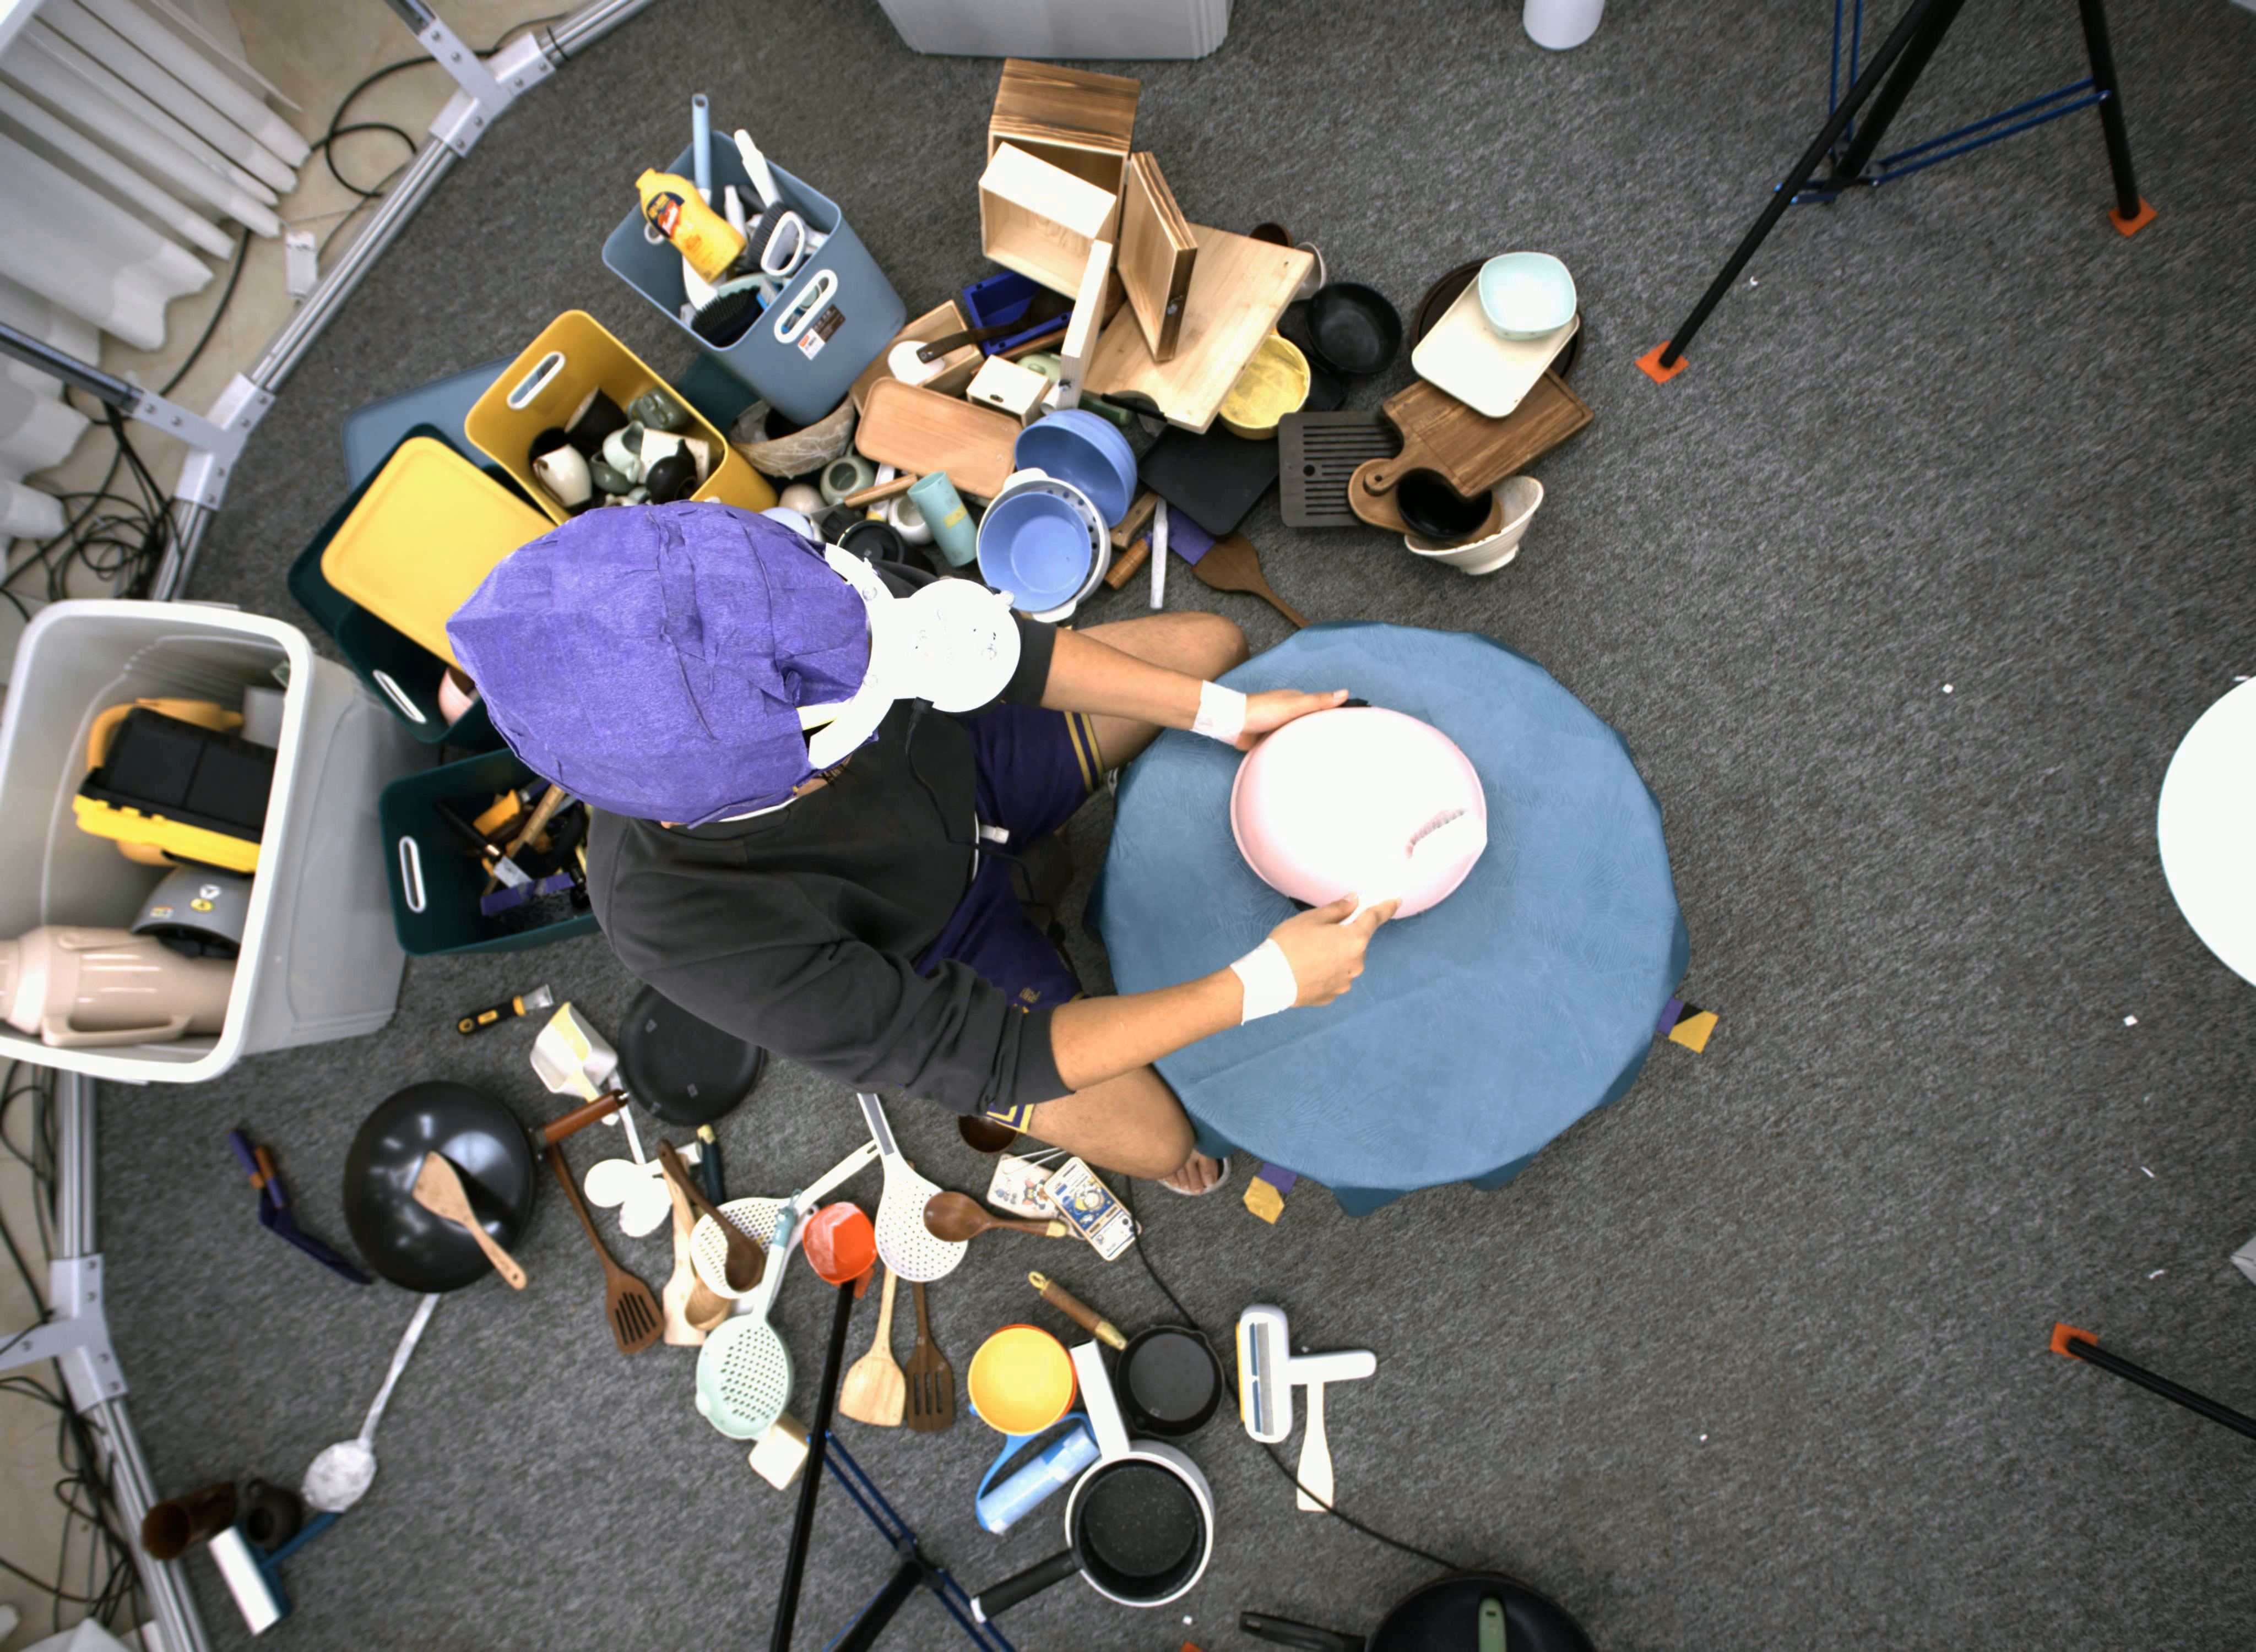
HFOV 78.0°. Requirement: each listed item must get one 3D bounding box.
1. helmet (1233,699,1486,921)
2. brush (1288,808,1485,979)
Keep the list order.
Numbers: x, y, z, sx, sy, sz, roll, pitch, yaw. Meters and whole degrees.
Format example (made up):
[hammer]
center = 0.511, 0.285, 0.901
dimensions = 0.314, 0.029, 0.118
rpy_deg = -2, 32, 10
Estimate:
[helmet]
center = 0.225, -0.017, 1.389
dimensions = 0.266, 0.158, 0.234
rpy_deg = 11, 93, 15
[brush]
center = 0.232, 0.059, 1.271
dimensions = 0.241, 0.050, 0.035
rpy_deg = -36, 108, -13
